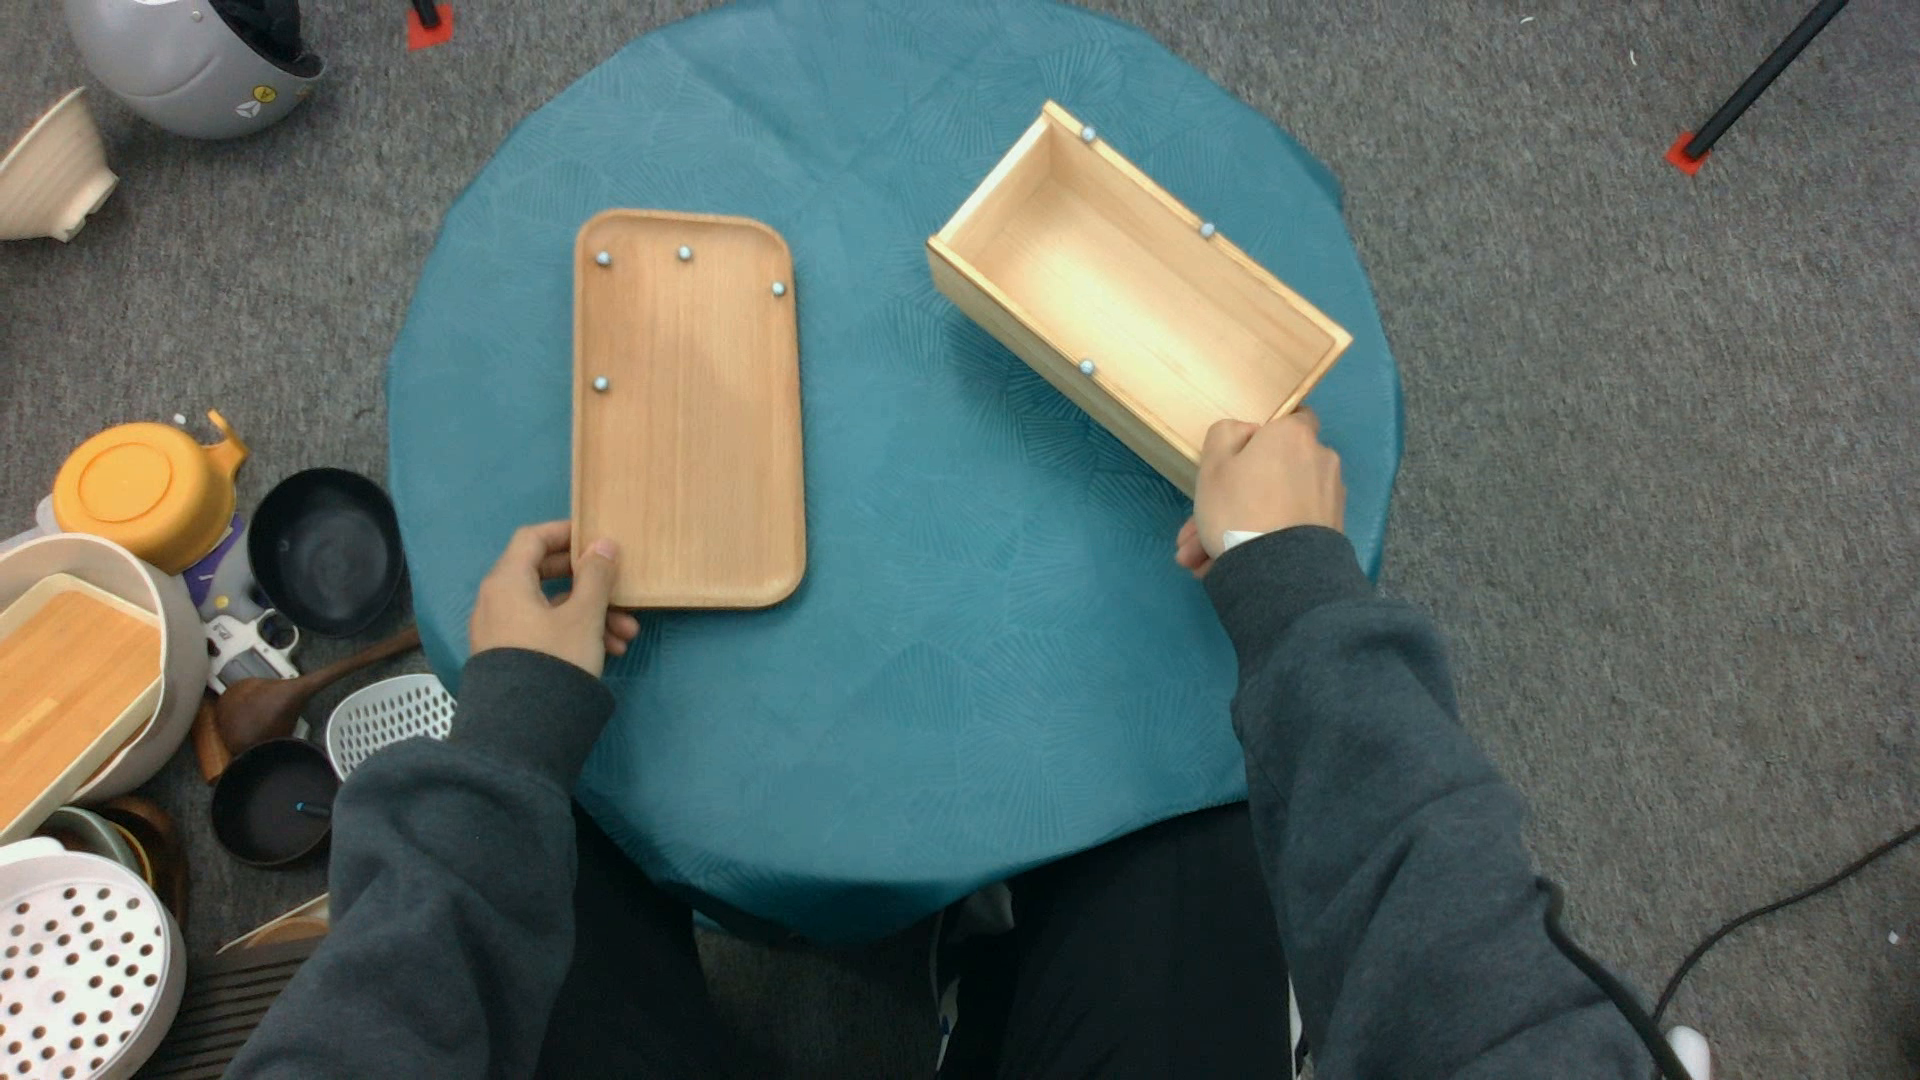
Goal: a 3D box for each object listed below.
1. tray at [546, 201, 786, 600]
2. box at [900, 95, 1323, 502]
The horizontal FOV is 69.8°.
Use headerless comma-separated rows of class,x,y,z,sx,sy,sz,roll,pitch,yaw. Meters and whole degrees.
tray,-0.169,-0.084,0.791,0.131,0.023,0.251,0,69,-12
box,0.082,-0.133,0.777,0.211,0.080,0.107,40,85,7
